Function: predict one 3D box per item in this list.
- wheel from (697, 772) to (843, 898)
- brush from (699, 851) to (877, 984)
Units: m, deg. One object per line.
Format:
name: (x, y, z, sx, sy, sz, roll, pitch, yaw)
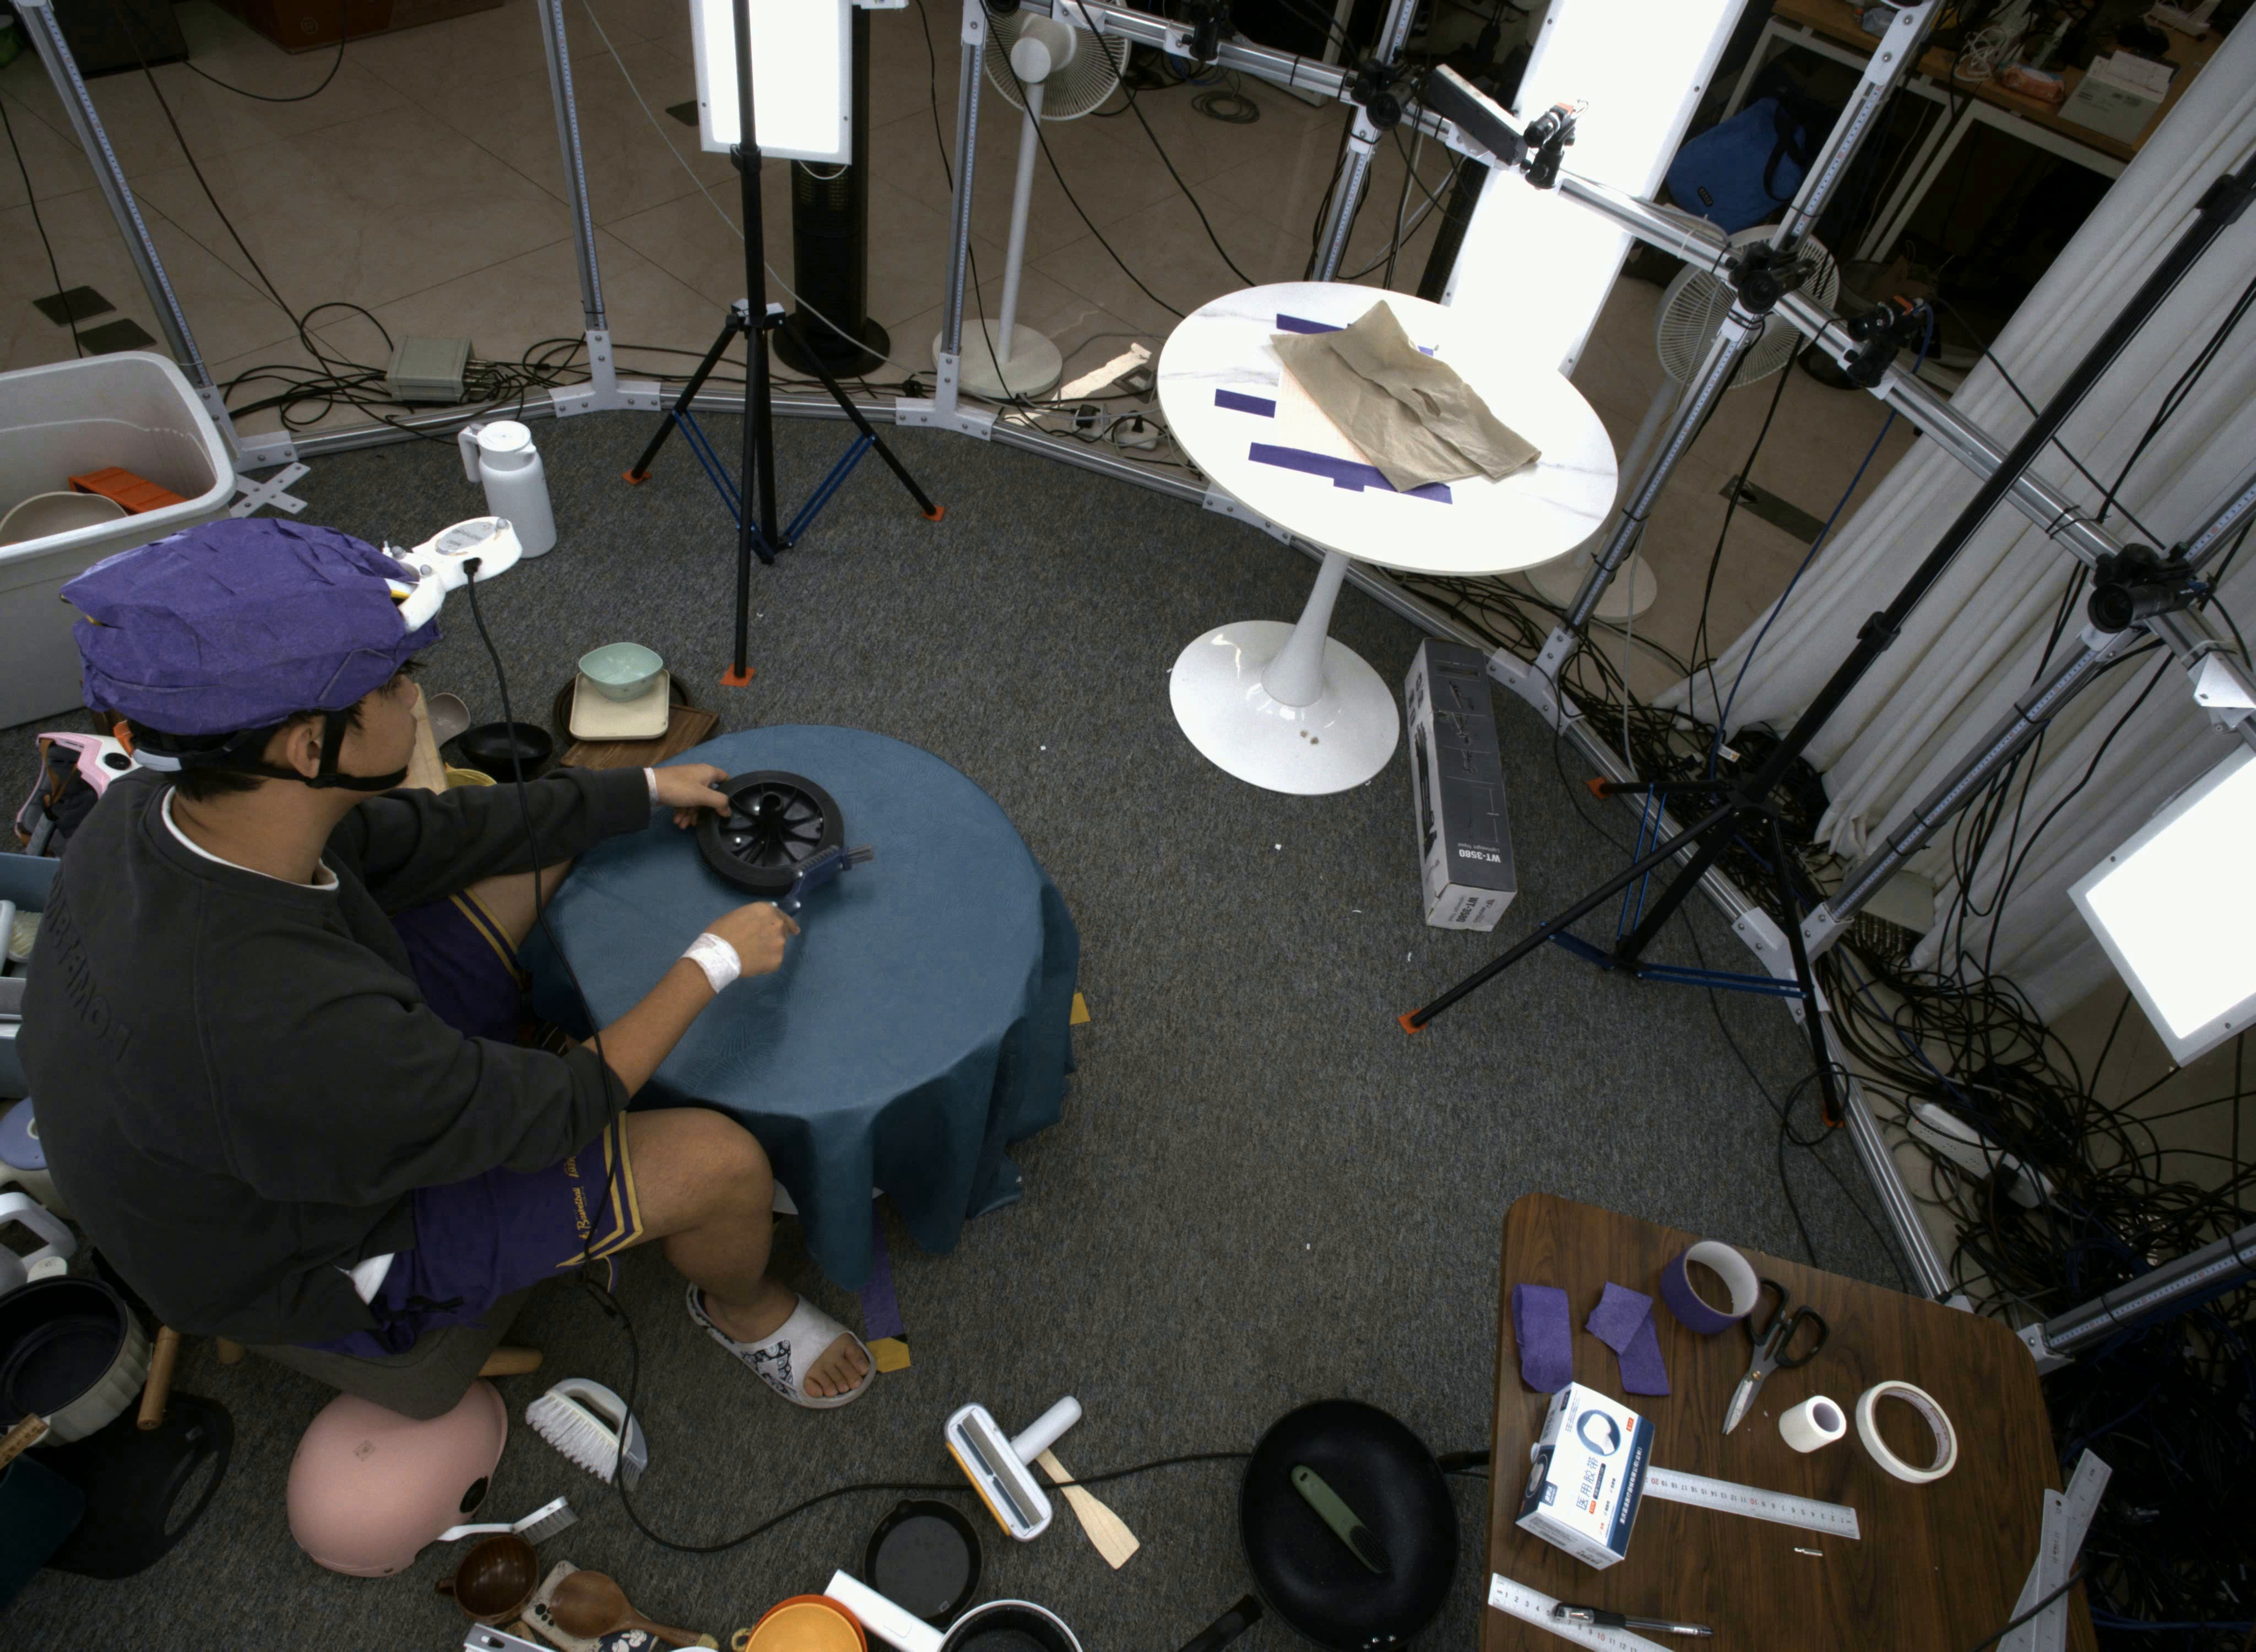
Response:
wheel: (-0.462, -0.005, 1.673, 0.188, 0.080, 0.186, 5, 54, -15)
brush: (-0.409, 0.099, 1.564, 0.093, 0.034, 0.271, 8, 34, 19)
